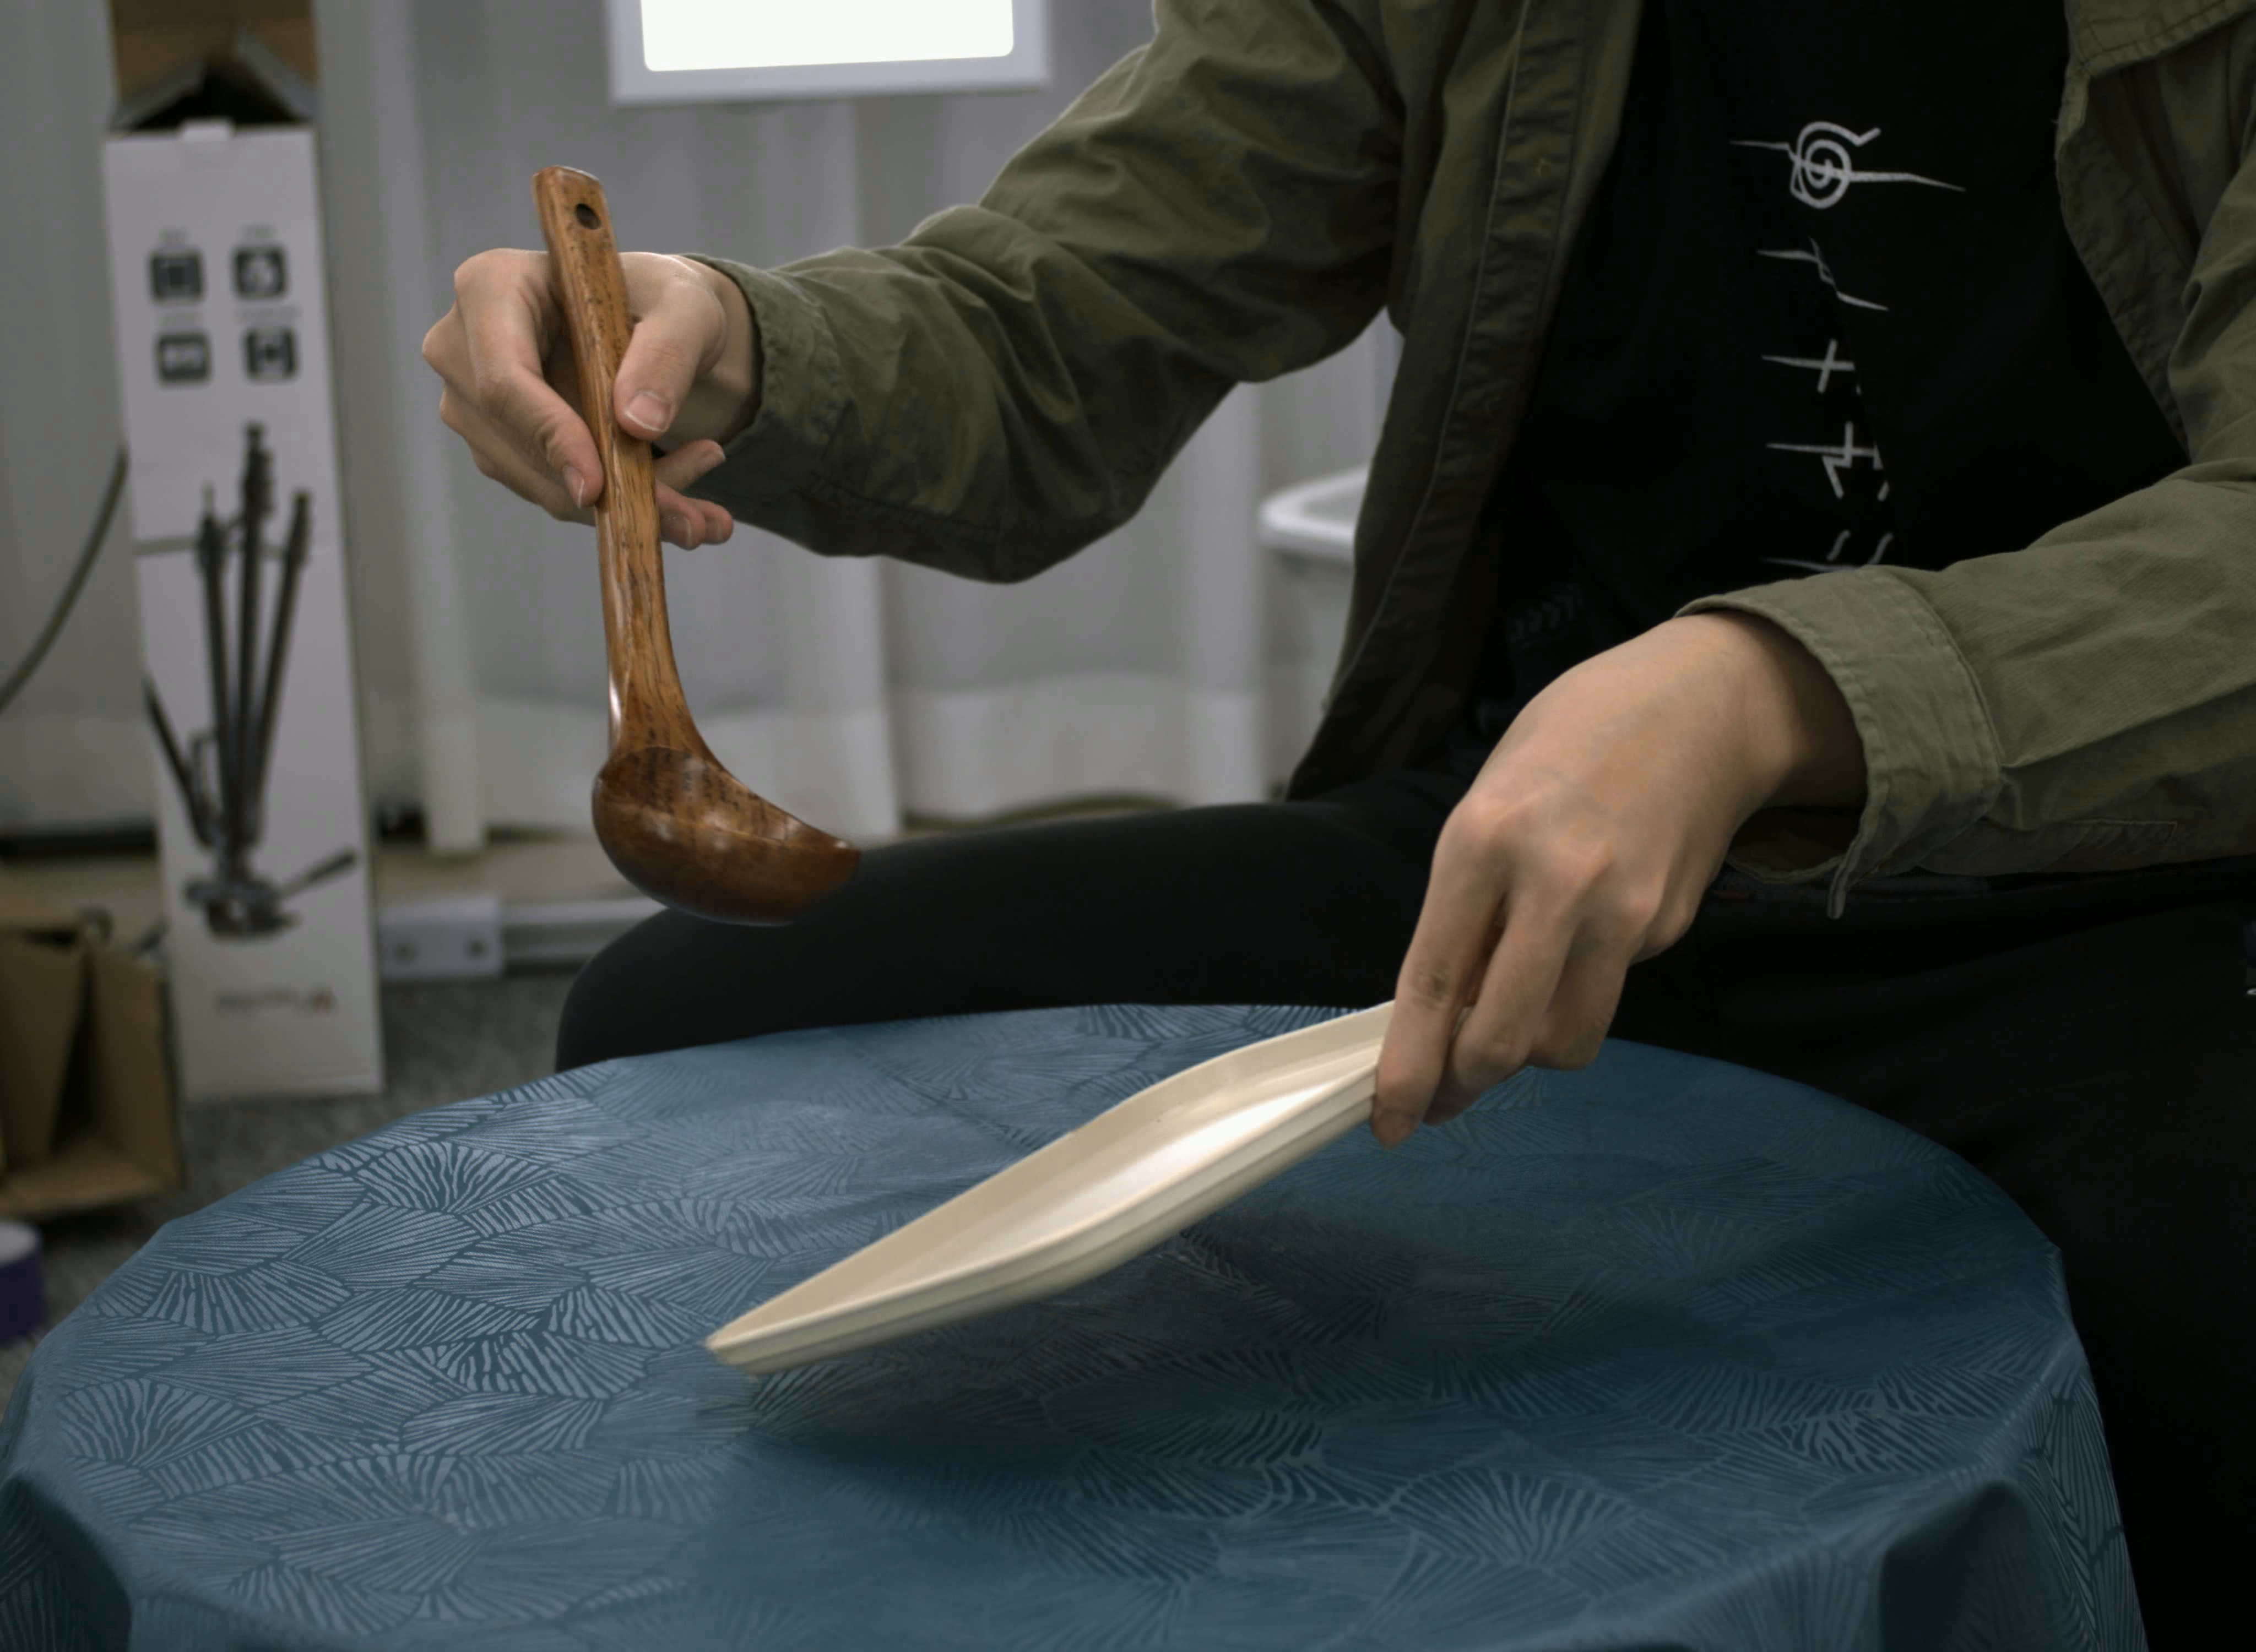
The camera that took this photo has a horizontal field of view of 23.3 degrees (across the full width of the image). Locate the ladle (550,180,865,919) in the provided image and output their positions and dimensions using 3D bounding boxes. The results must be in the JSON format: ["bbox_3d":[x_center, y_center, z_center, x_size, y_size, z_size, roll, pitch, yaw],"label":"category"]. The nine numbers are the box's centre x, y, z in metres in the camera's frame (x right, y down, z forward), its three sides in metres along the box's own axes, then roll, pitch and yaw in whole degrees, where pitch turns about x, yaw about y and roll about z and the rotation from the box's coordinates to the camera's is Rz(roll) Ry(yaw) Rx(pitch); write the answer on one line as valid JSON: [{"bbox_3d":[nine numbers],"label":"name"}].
[{"bbox_3d":[-0.135,-0.093,1.659,0.081,0.278,0.076,18,-37,-42],"label":"ladle"}]

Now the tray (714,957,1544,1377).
[{"bbox_3d":[0.004,0.099,1.570,0.171,0.017,0.240,-20,4,44],"label":"tray"}]
